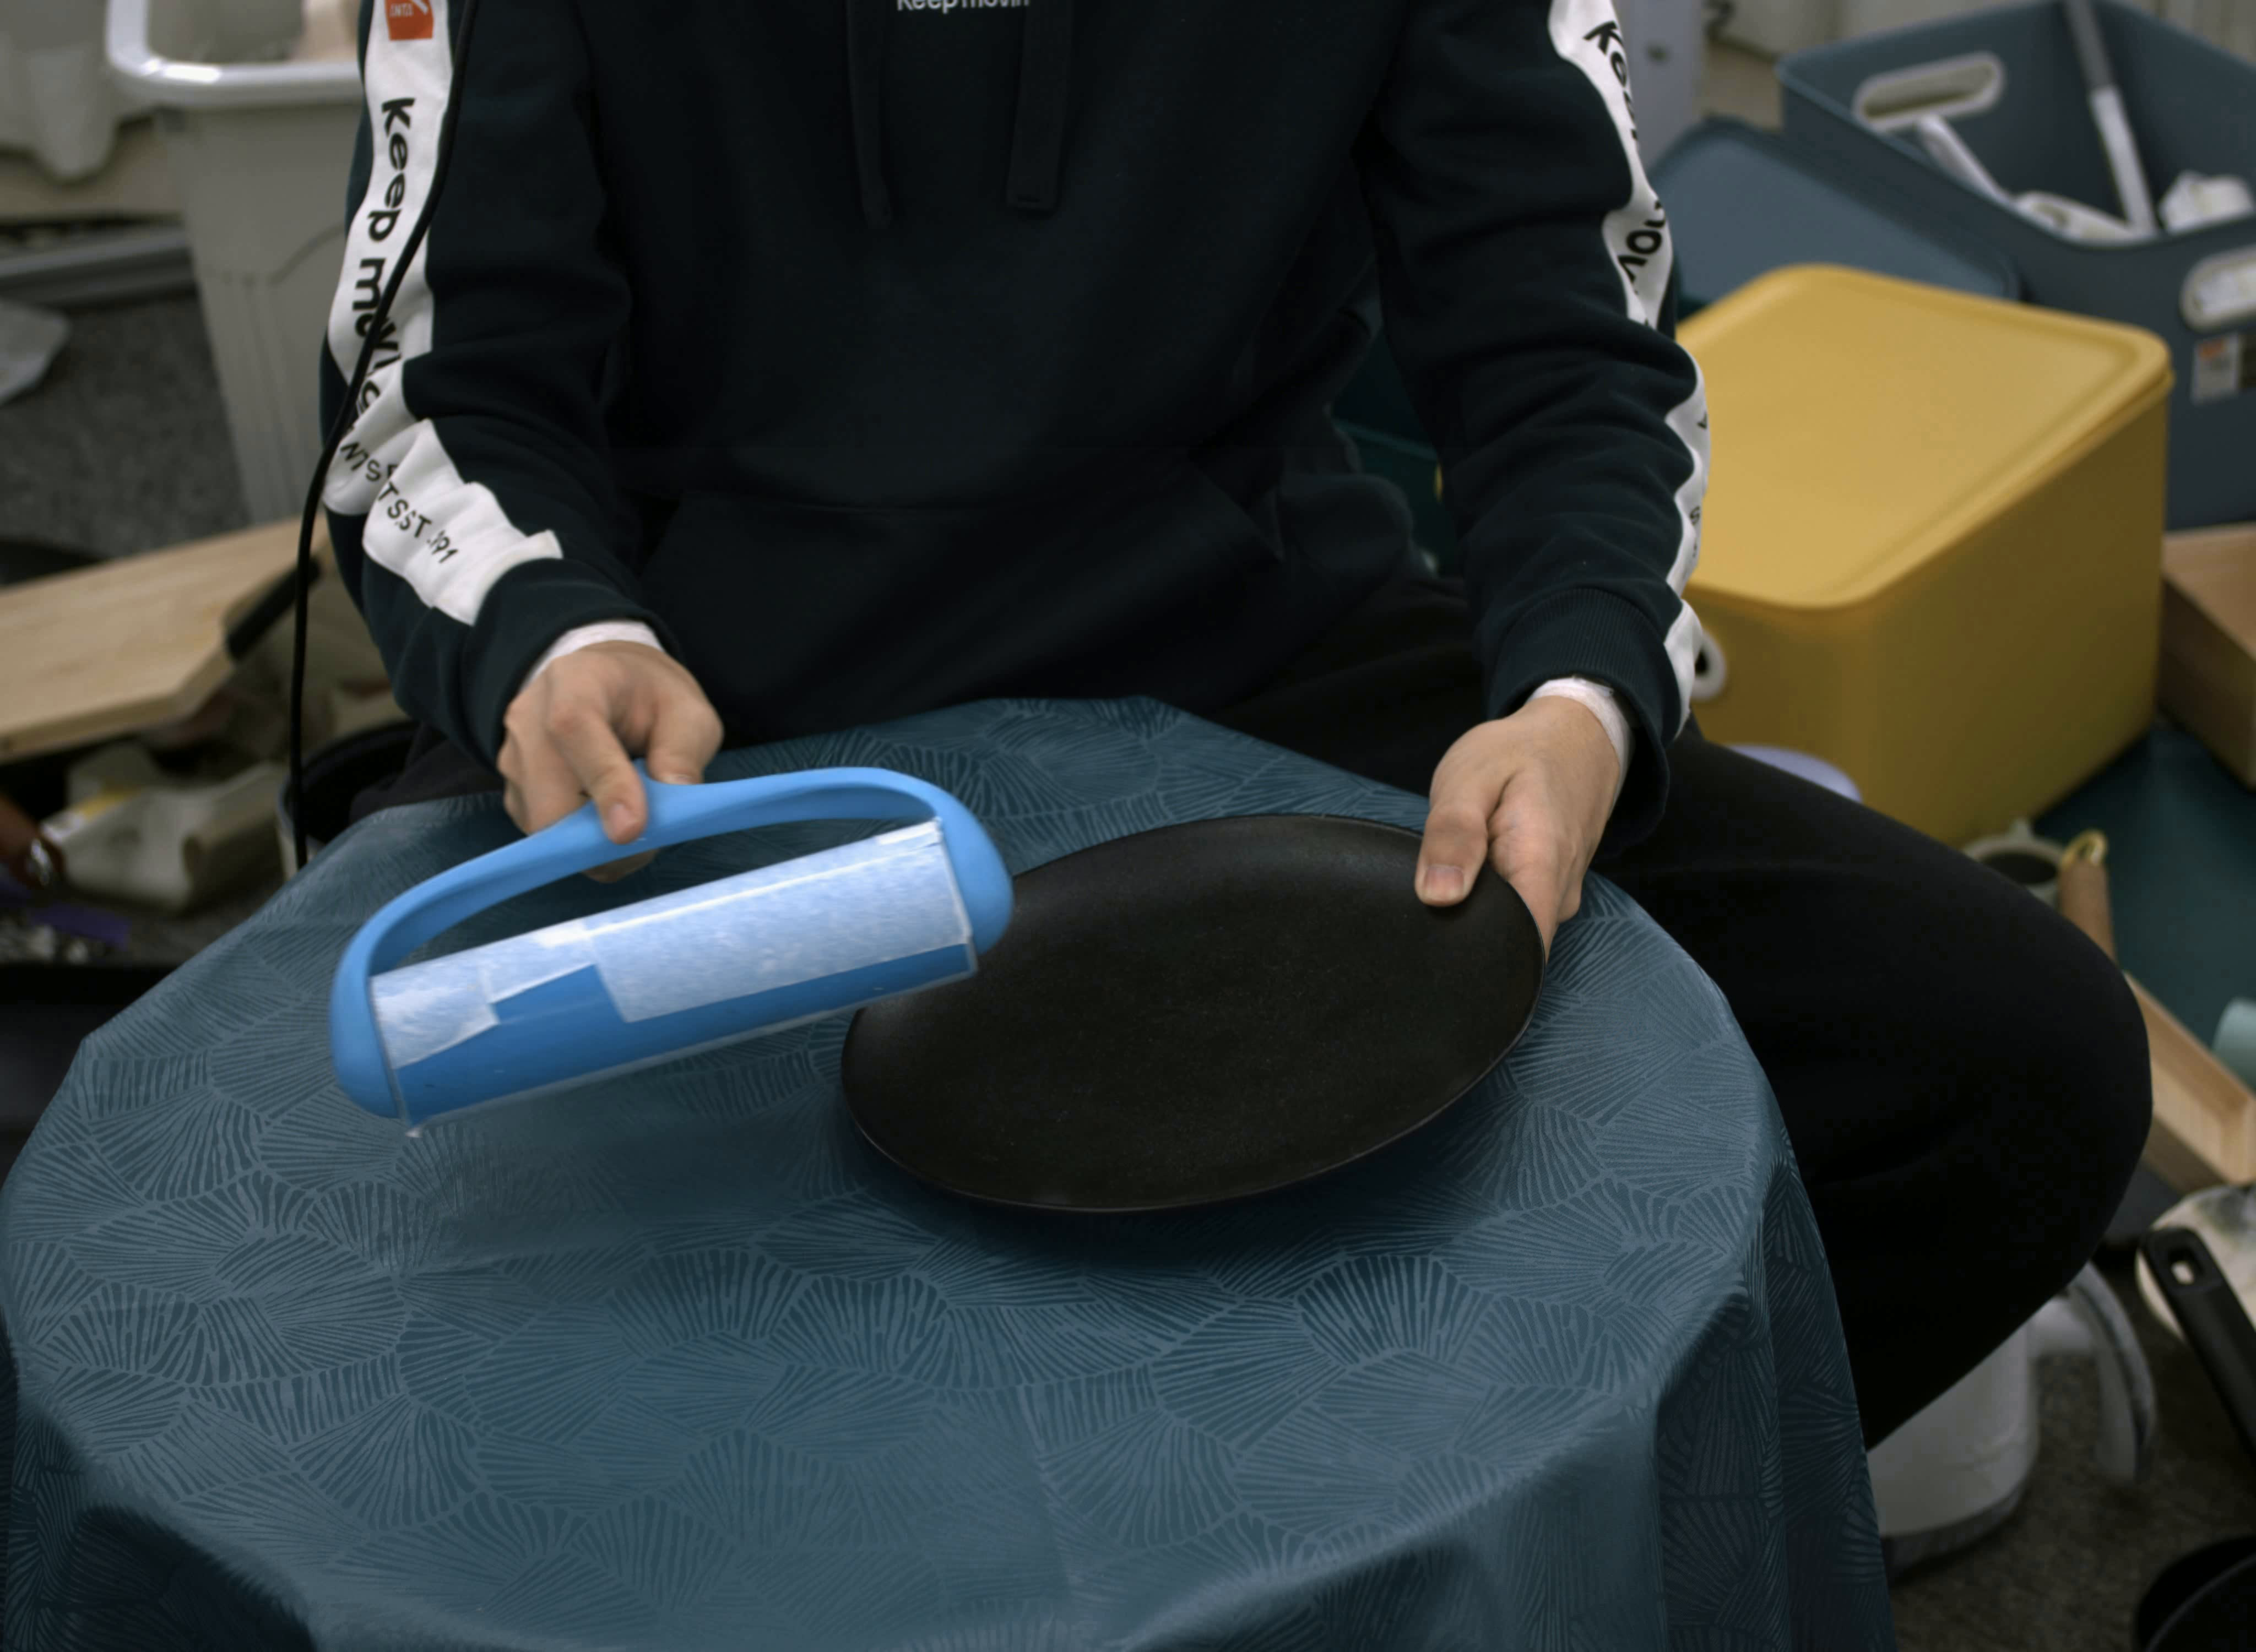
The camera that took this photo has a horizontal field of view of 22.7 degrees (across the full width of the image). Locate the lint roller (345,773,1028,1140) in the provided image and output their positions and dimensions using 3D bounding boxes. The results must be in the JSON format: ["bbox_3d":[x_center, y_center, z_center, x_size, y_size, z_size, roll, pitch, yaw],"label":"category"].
[{"bbox_3d":[-0.160,0.020,1.886,0.229,0.067,0.182,-18,33,-8],"label":"lint roller"}]

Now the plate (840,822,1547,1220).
[{"bbox_3d":[0.023,0.070,1.908,0.243,0.023,0.248,-9,29,5],"label":"plate"}]
